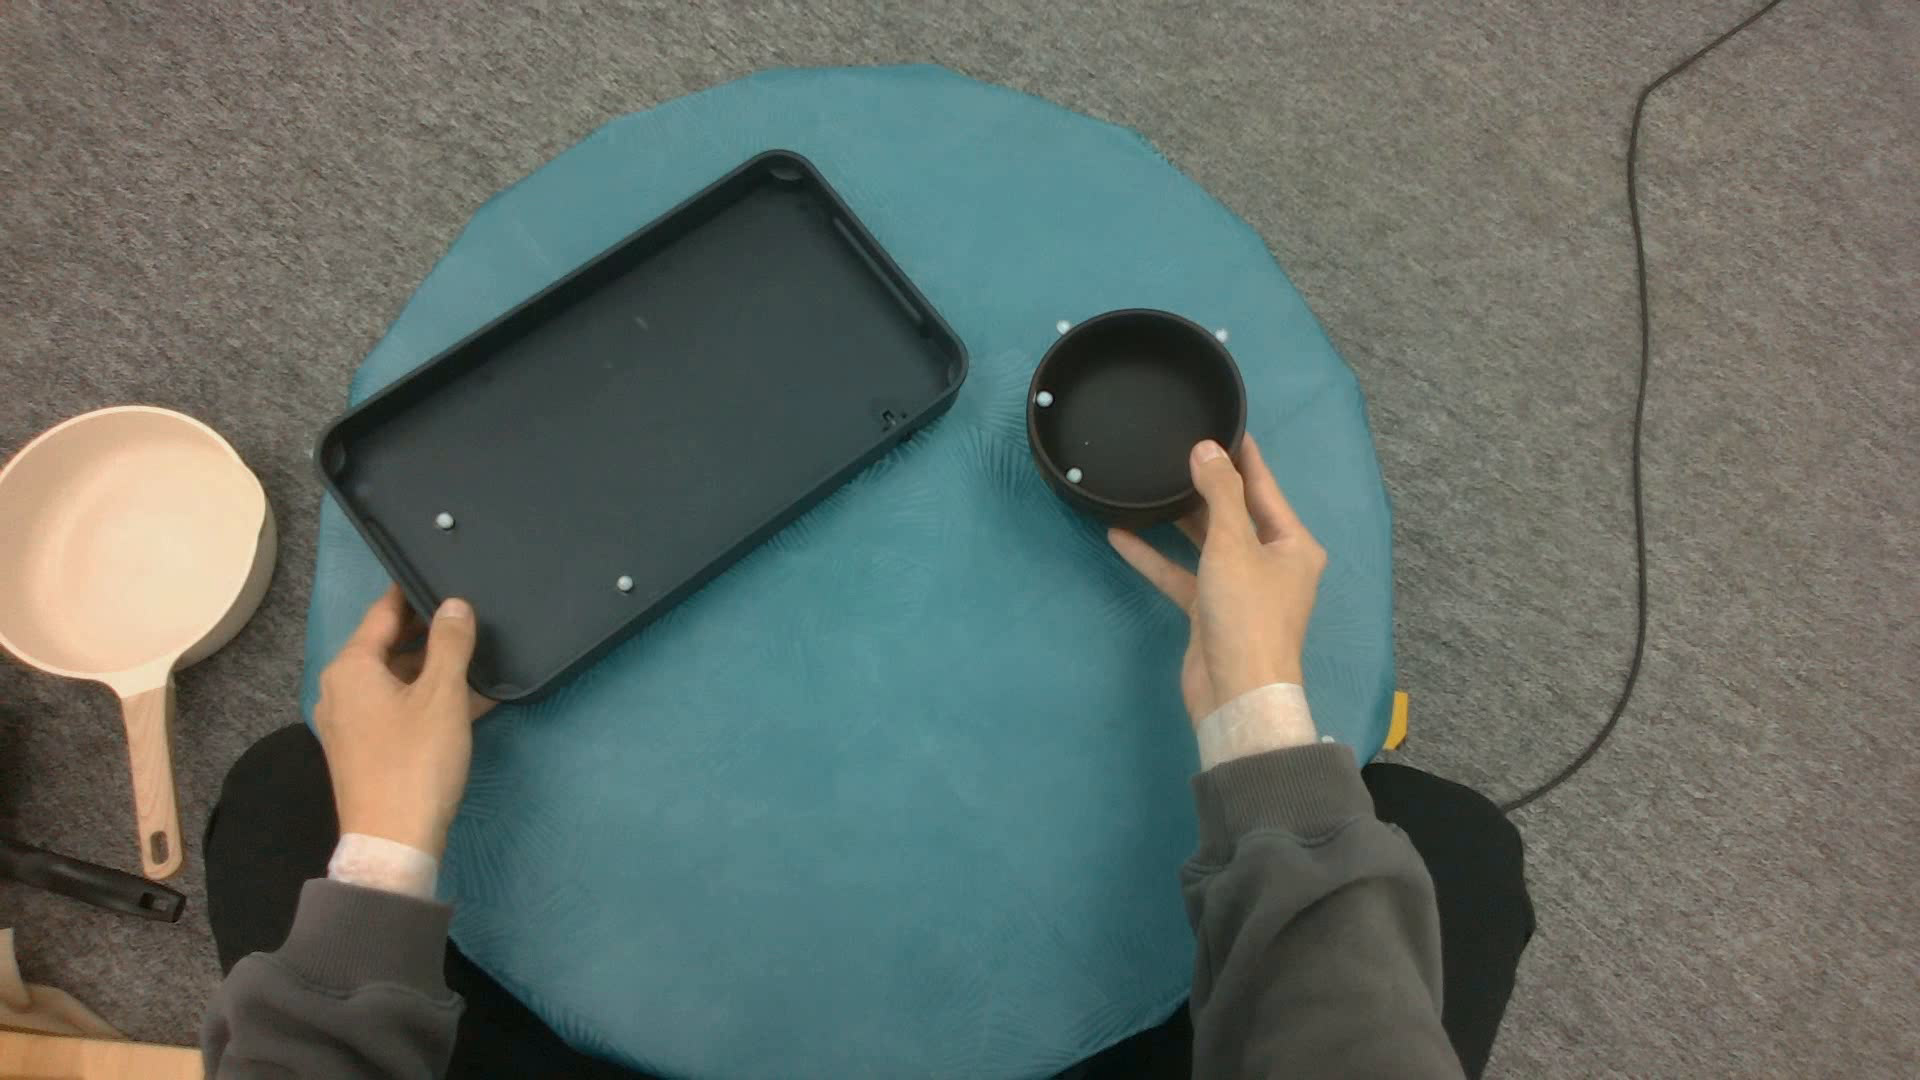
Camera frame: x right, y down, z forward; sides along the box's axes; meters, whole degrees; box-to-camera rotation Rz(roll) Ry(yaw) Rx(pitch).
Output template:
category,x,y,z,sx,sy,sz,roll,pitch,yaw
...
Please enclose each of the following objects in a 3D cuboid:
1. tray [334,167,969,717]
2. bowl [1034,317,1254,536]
category,x,y,z,sx,sy,sz,roll,pitch,yaw
tray,-0.165,-0.061,0.774,0.319,0.037,0.184,-38,80,-15
bowl,0.100,-0.057,0.763,0.118,0.069,0.118,-1,73,4
